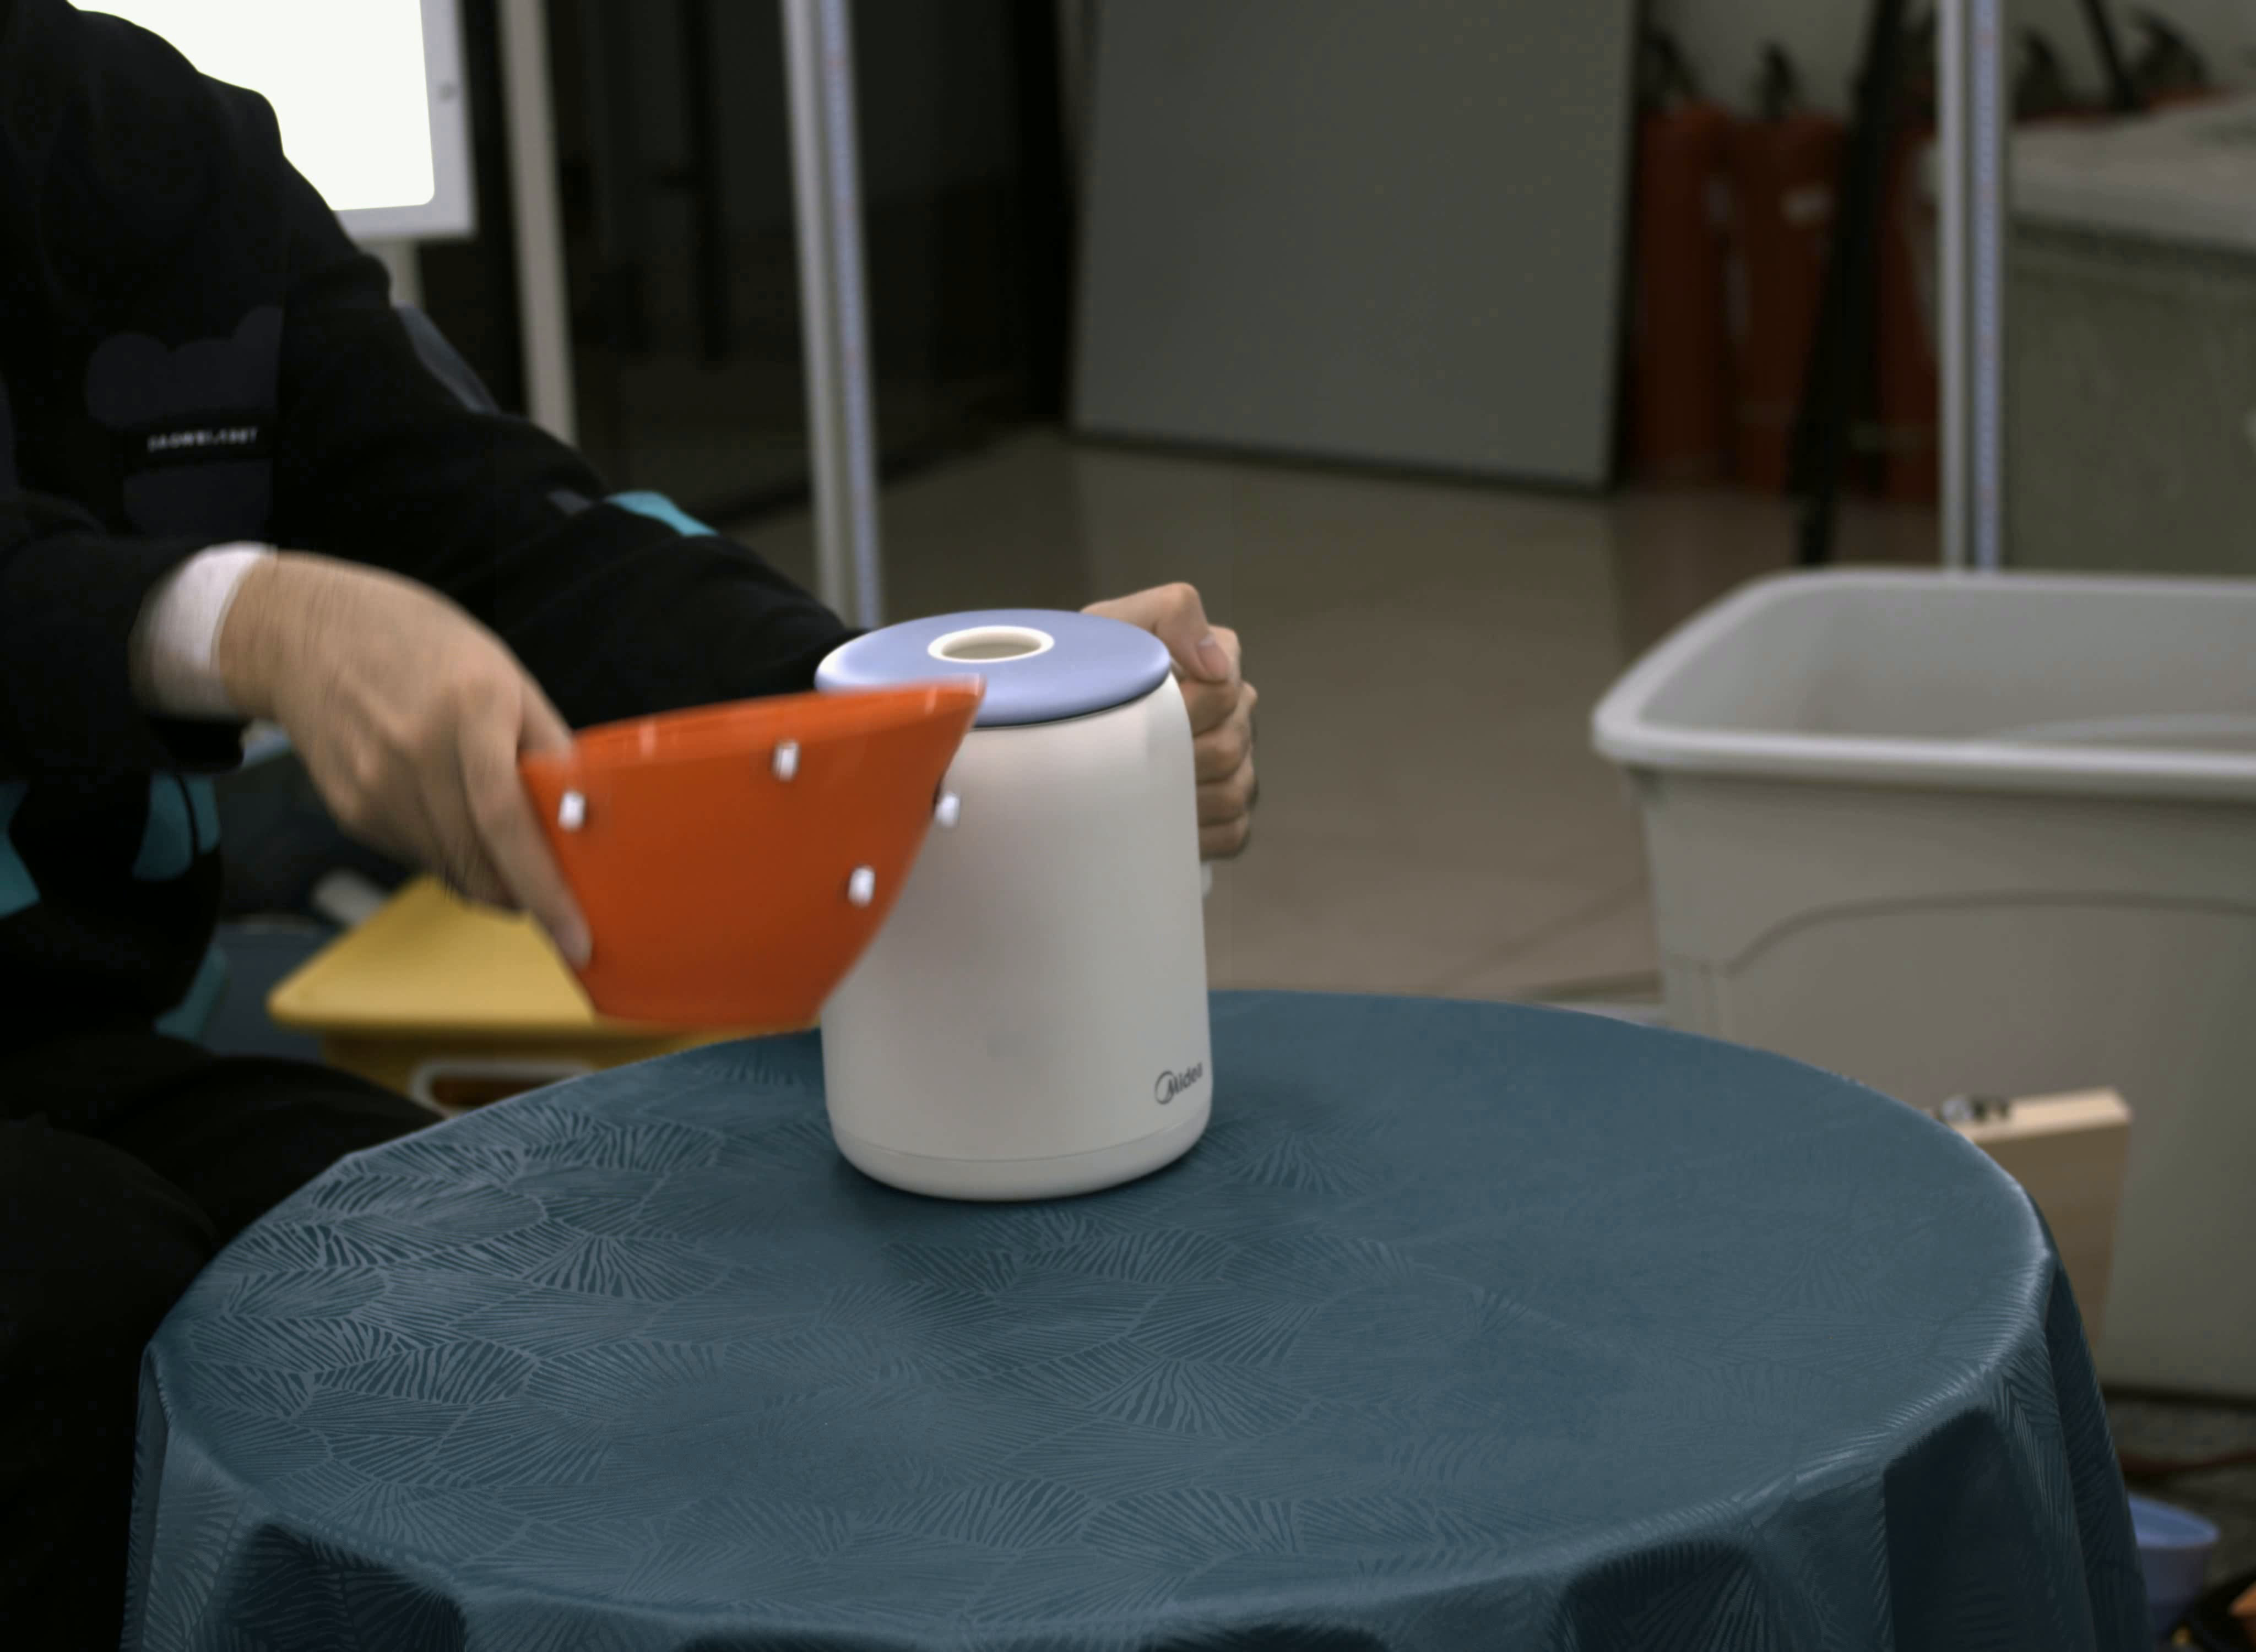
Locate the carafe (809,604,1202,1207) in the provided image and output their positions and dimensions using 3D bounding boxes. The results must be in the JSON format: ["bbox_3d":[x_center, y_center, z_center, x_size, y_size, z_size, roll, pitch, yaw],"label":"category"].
[{"bbox_3d":[-0.030,0.019,1.817,0.133,0.184,0.188,8,18,30],"label":"carafe"}]

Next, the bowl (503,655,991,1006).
[{"bbox_3d":[-0.115,0.000,1.624,0.146,0.106,0.148,1,1,-1],"label":"bowl"}]
